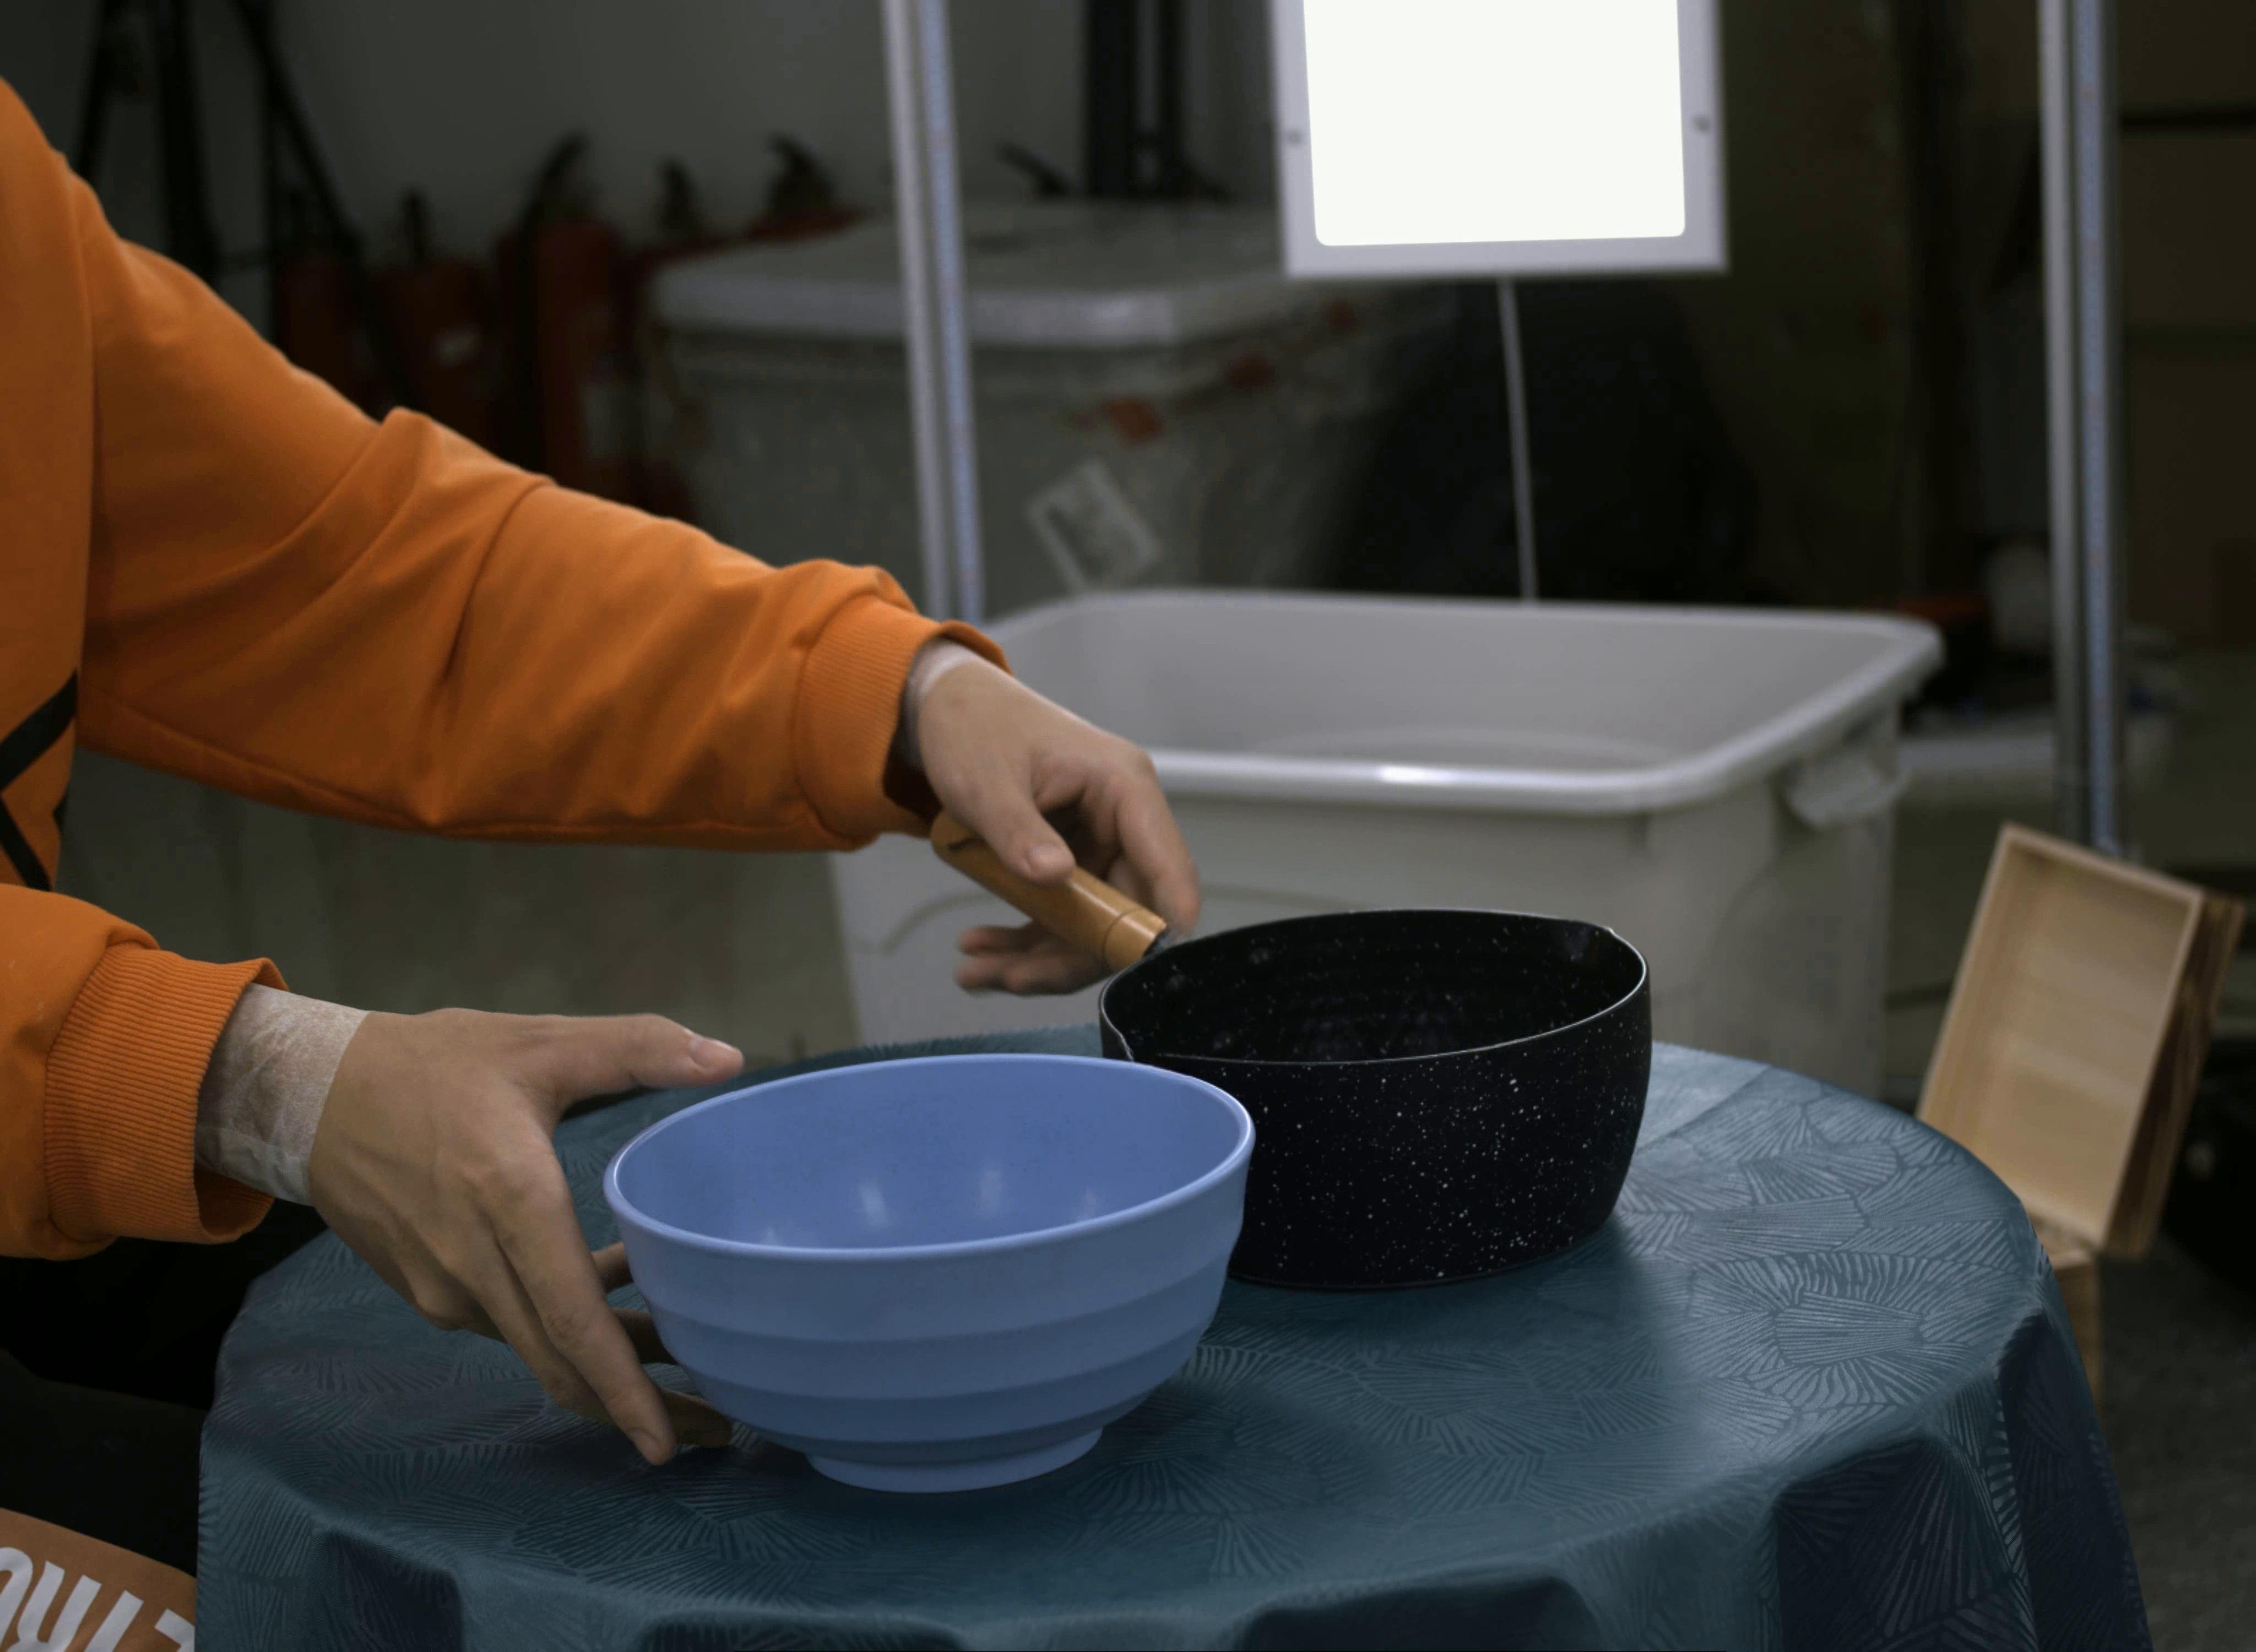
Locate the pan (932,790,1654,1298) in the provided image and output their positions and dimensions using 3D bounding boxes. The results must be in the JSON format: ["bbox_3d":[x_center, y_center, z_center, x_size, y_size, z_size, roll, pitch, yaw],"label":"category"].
[{"bbox_3d":[0.036,0.068,1.893,0.202,0.108,0.350,-16,19,-33],"label":"pan"}]

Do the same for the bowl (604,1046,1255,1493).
[{"bbox_3d":[-0.056,0.140,1.661,0.196,0.096,0.196,-5,15,0],"label":"bowl"}]
